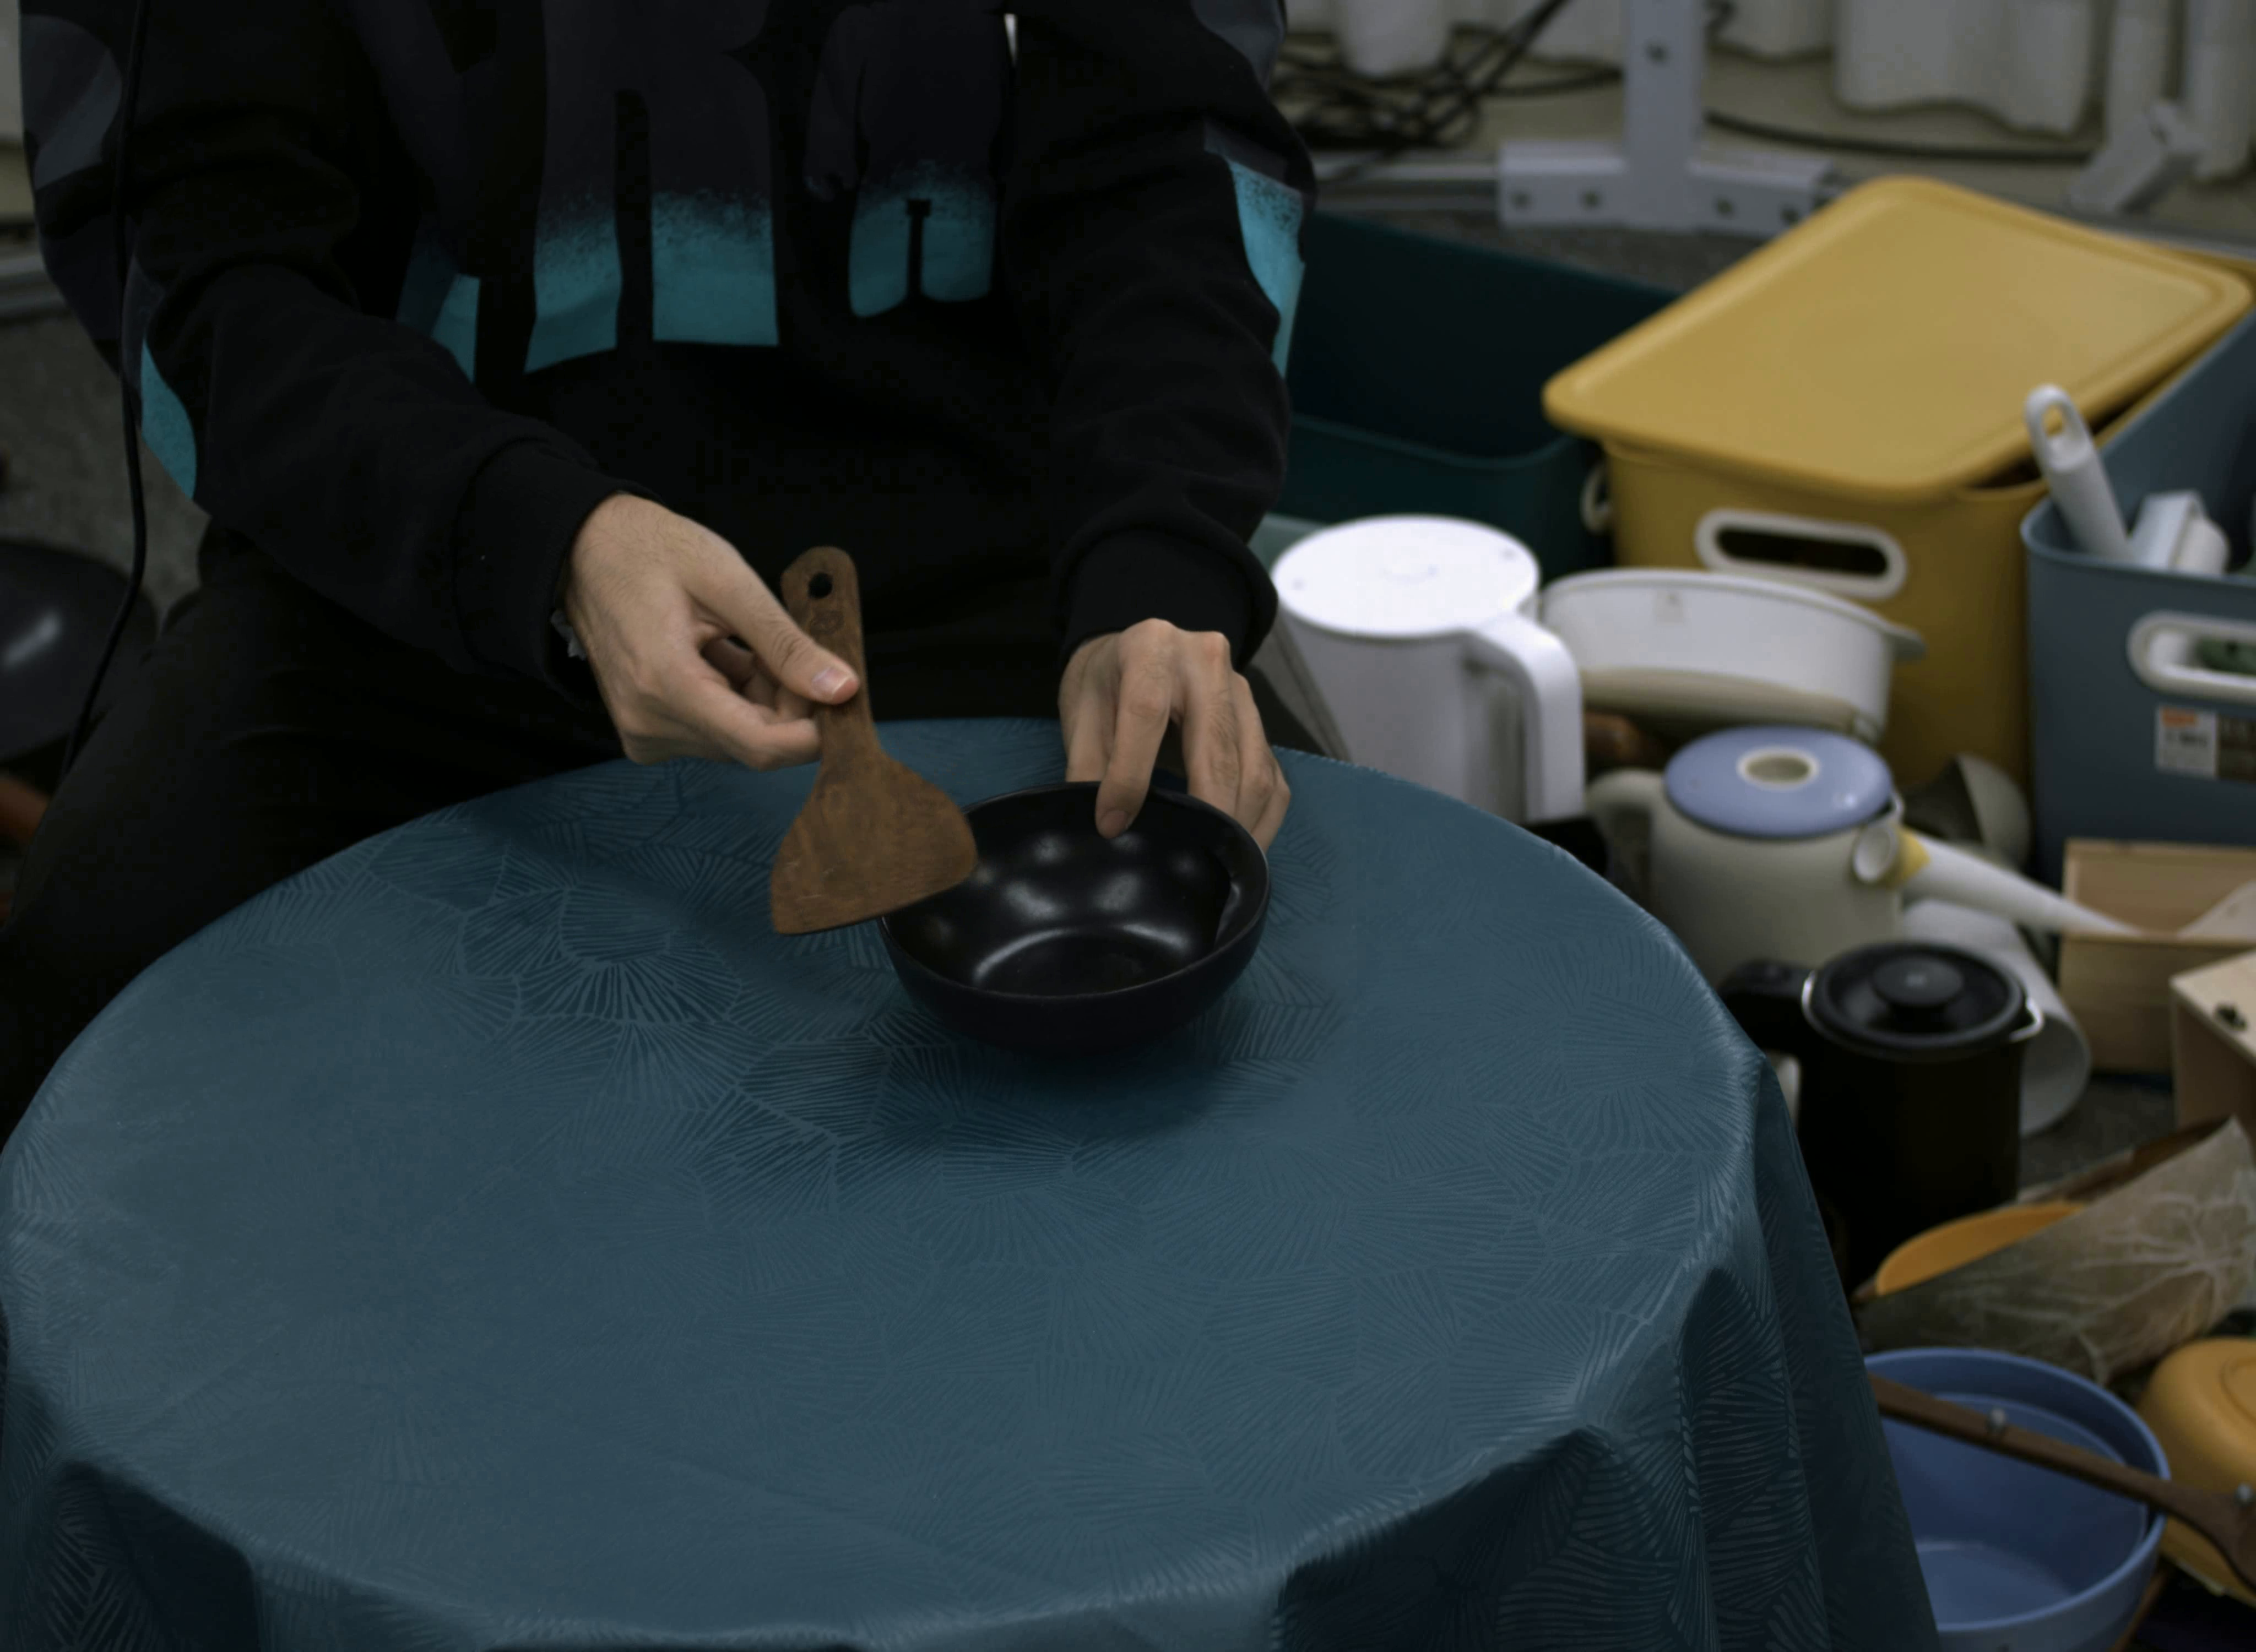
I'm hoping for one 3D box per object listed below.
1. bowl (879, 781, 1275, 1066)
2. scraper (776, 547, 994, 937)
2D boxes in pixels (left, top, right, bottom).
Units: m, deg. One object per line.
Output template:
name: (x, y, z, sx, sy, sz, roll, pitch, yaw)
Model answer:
bowl: (-0.015, 0.042, 1.956, 0.139, 0.049, 0.142, -5, 32, 4)
scraper: (-0.095, -0.033, 1.974, 0.075, 0.010, 0.215, -16, 39, 1)
